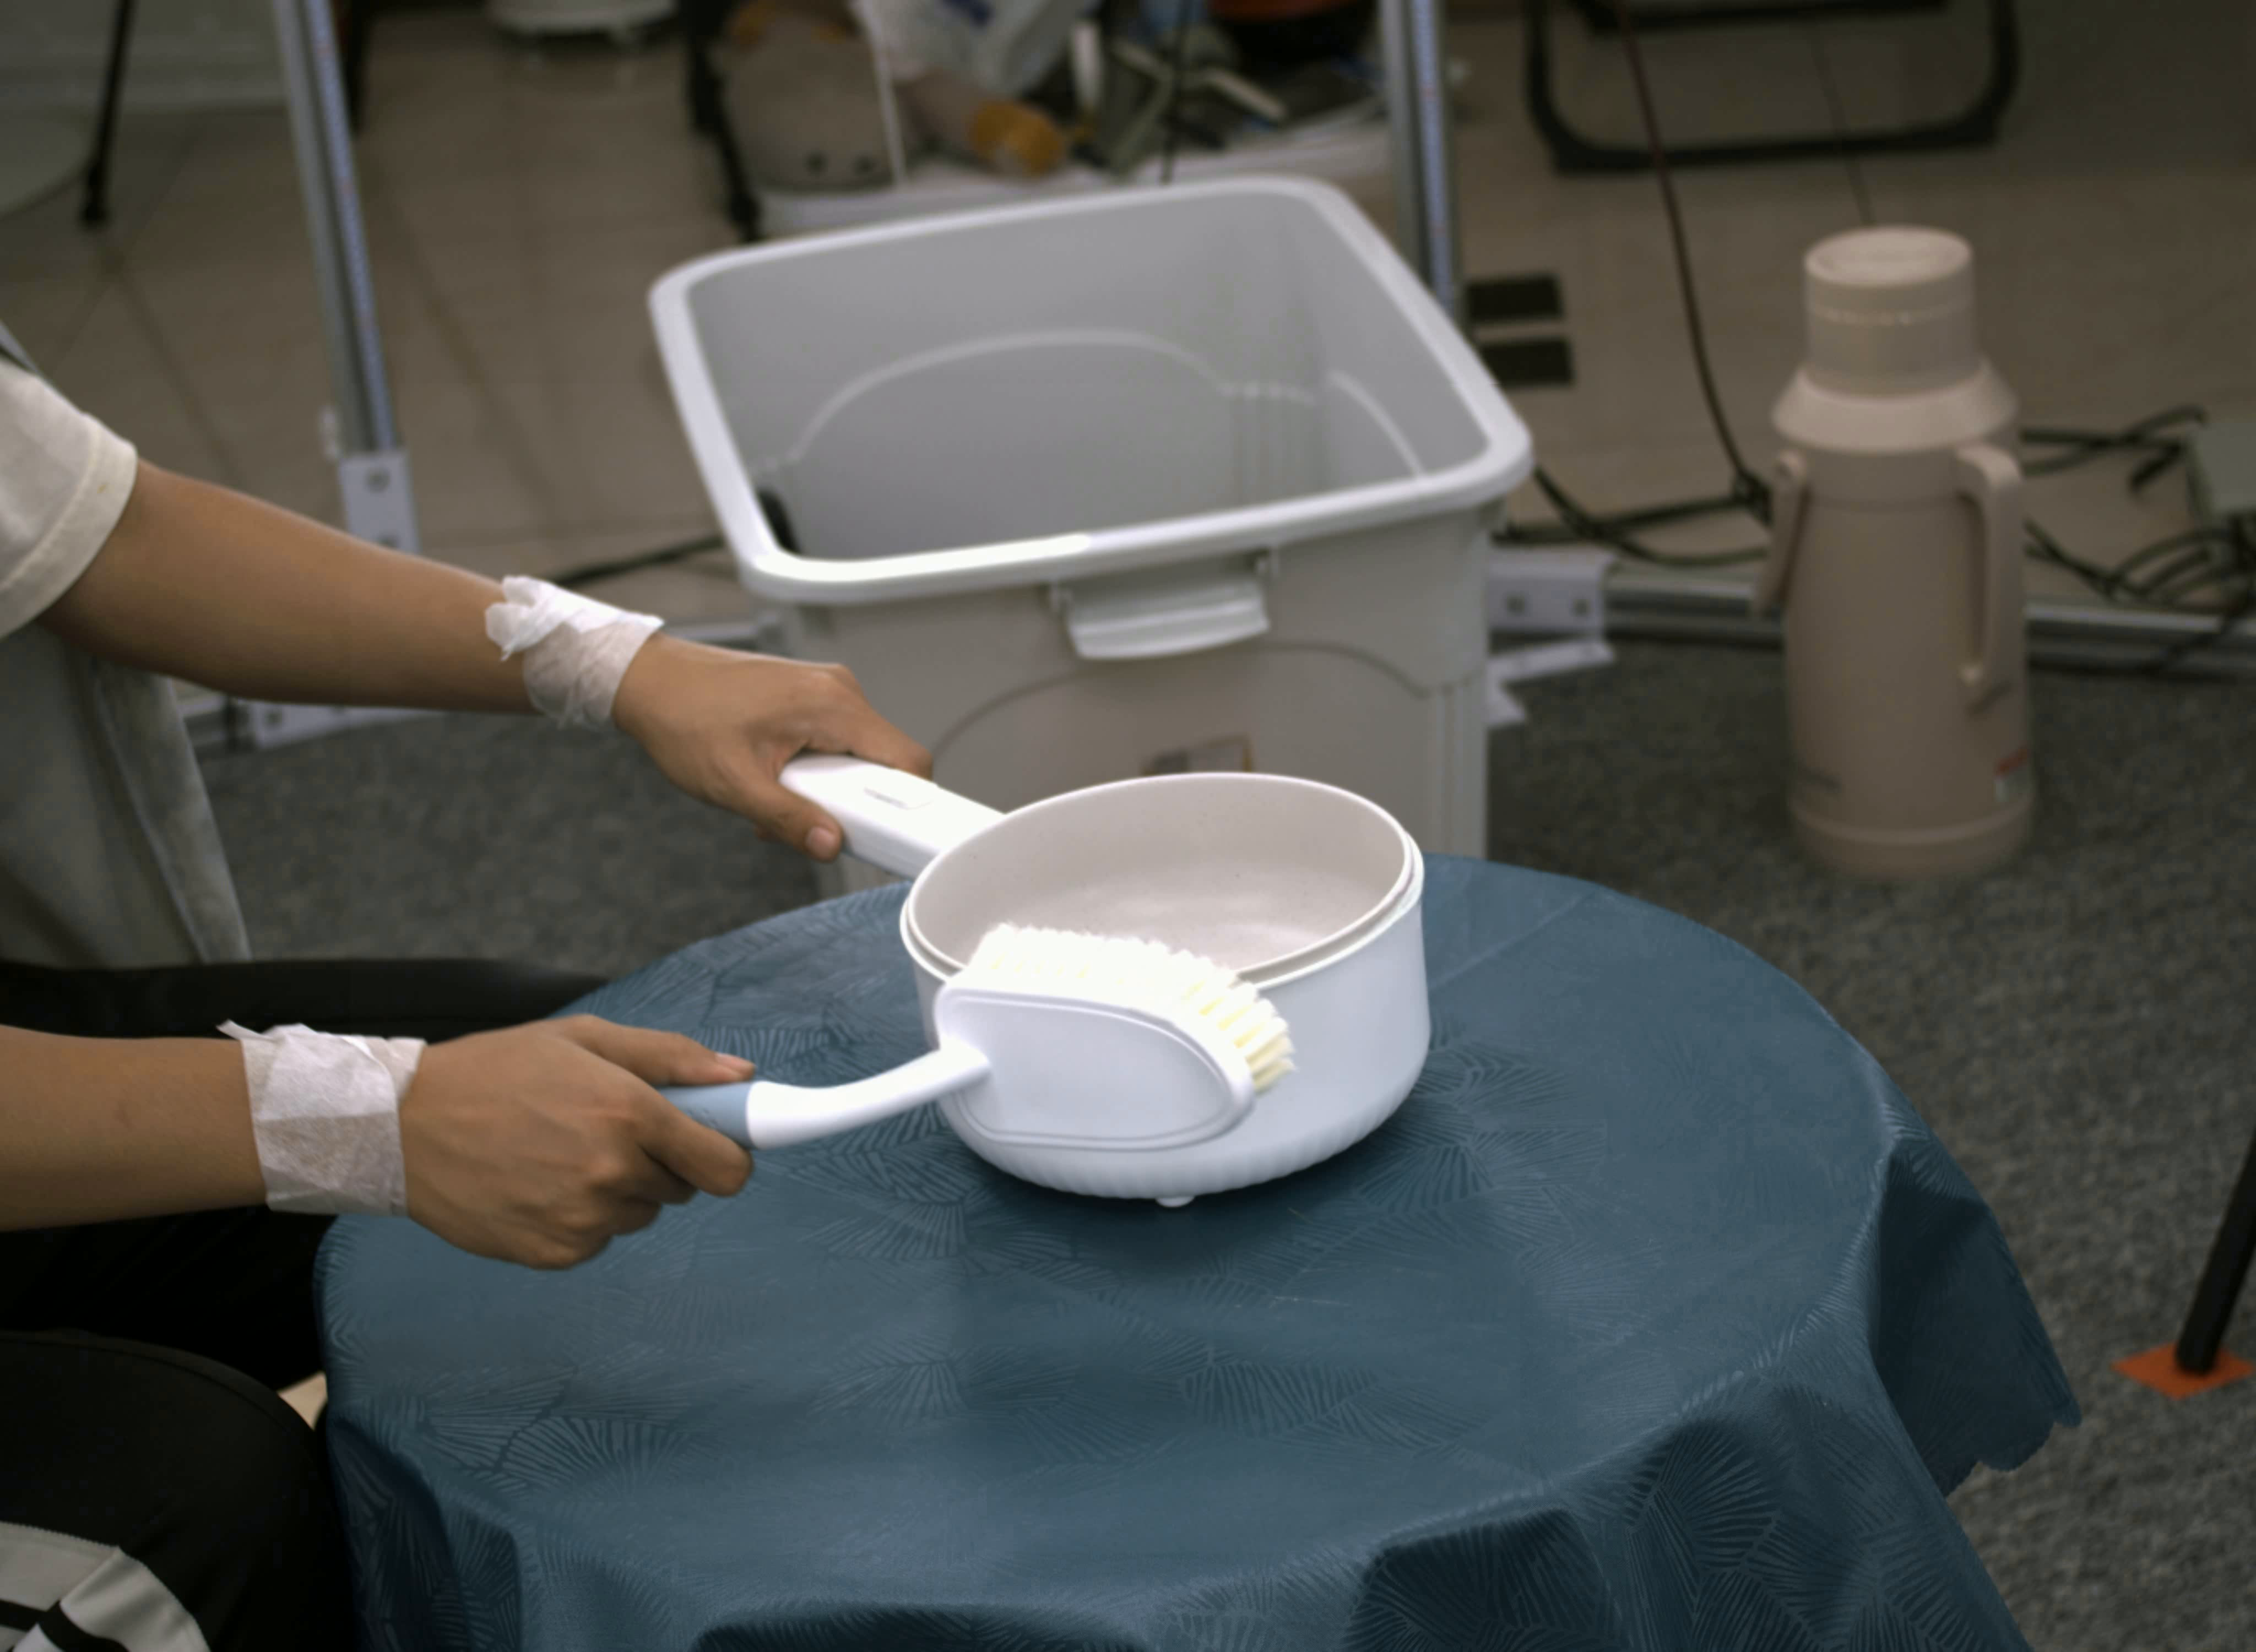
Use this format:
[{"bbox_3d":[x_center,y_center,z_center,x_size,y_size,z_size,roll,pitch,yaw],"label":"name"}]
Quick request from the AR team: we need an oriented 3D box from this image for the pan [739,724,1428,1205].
[{"bbox_3d":[-0.032,0.047,2.237,0.199,0.103,0.352,-25,29,-34],"label":"pan"}]

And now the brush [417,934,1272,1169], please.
[{"bbox_3d":[-0.101,0.082,2.043,0.325,0.082,0.085,-4,-11,20],"label":"brush"}]
